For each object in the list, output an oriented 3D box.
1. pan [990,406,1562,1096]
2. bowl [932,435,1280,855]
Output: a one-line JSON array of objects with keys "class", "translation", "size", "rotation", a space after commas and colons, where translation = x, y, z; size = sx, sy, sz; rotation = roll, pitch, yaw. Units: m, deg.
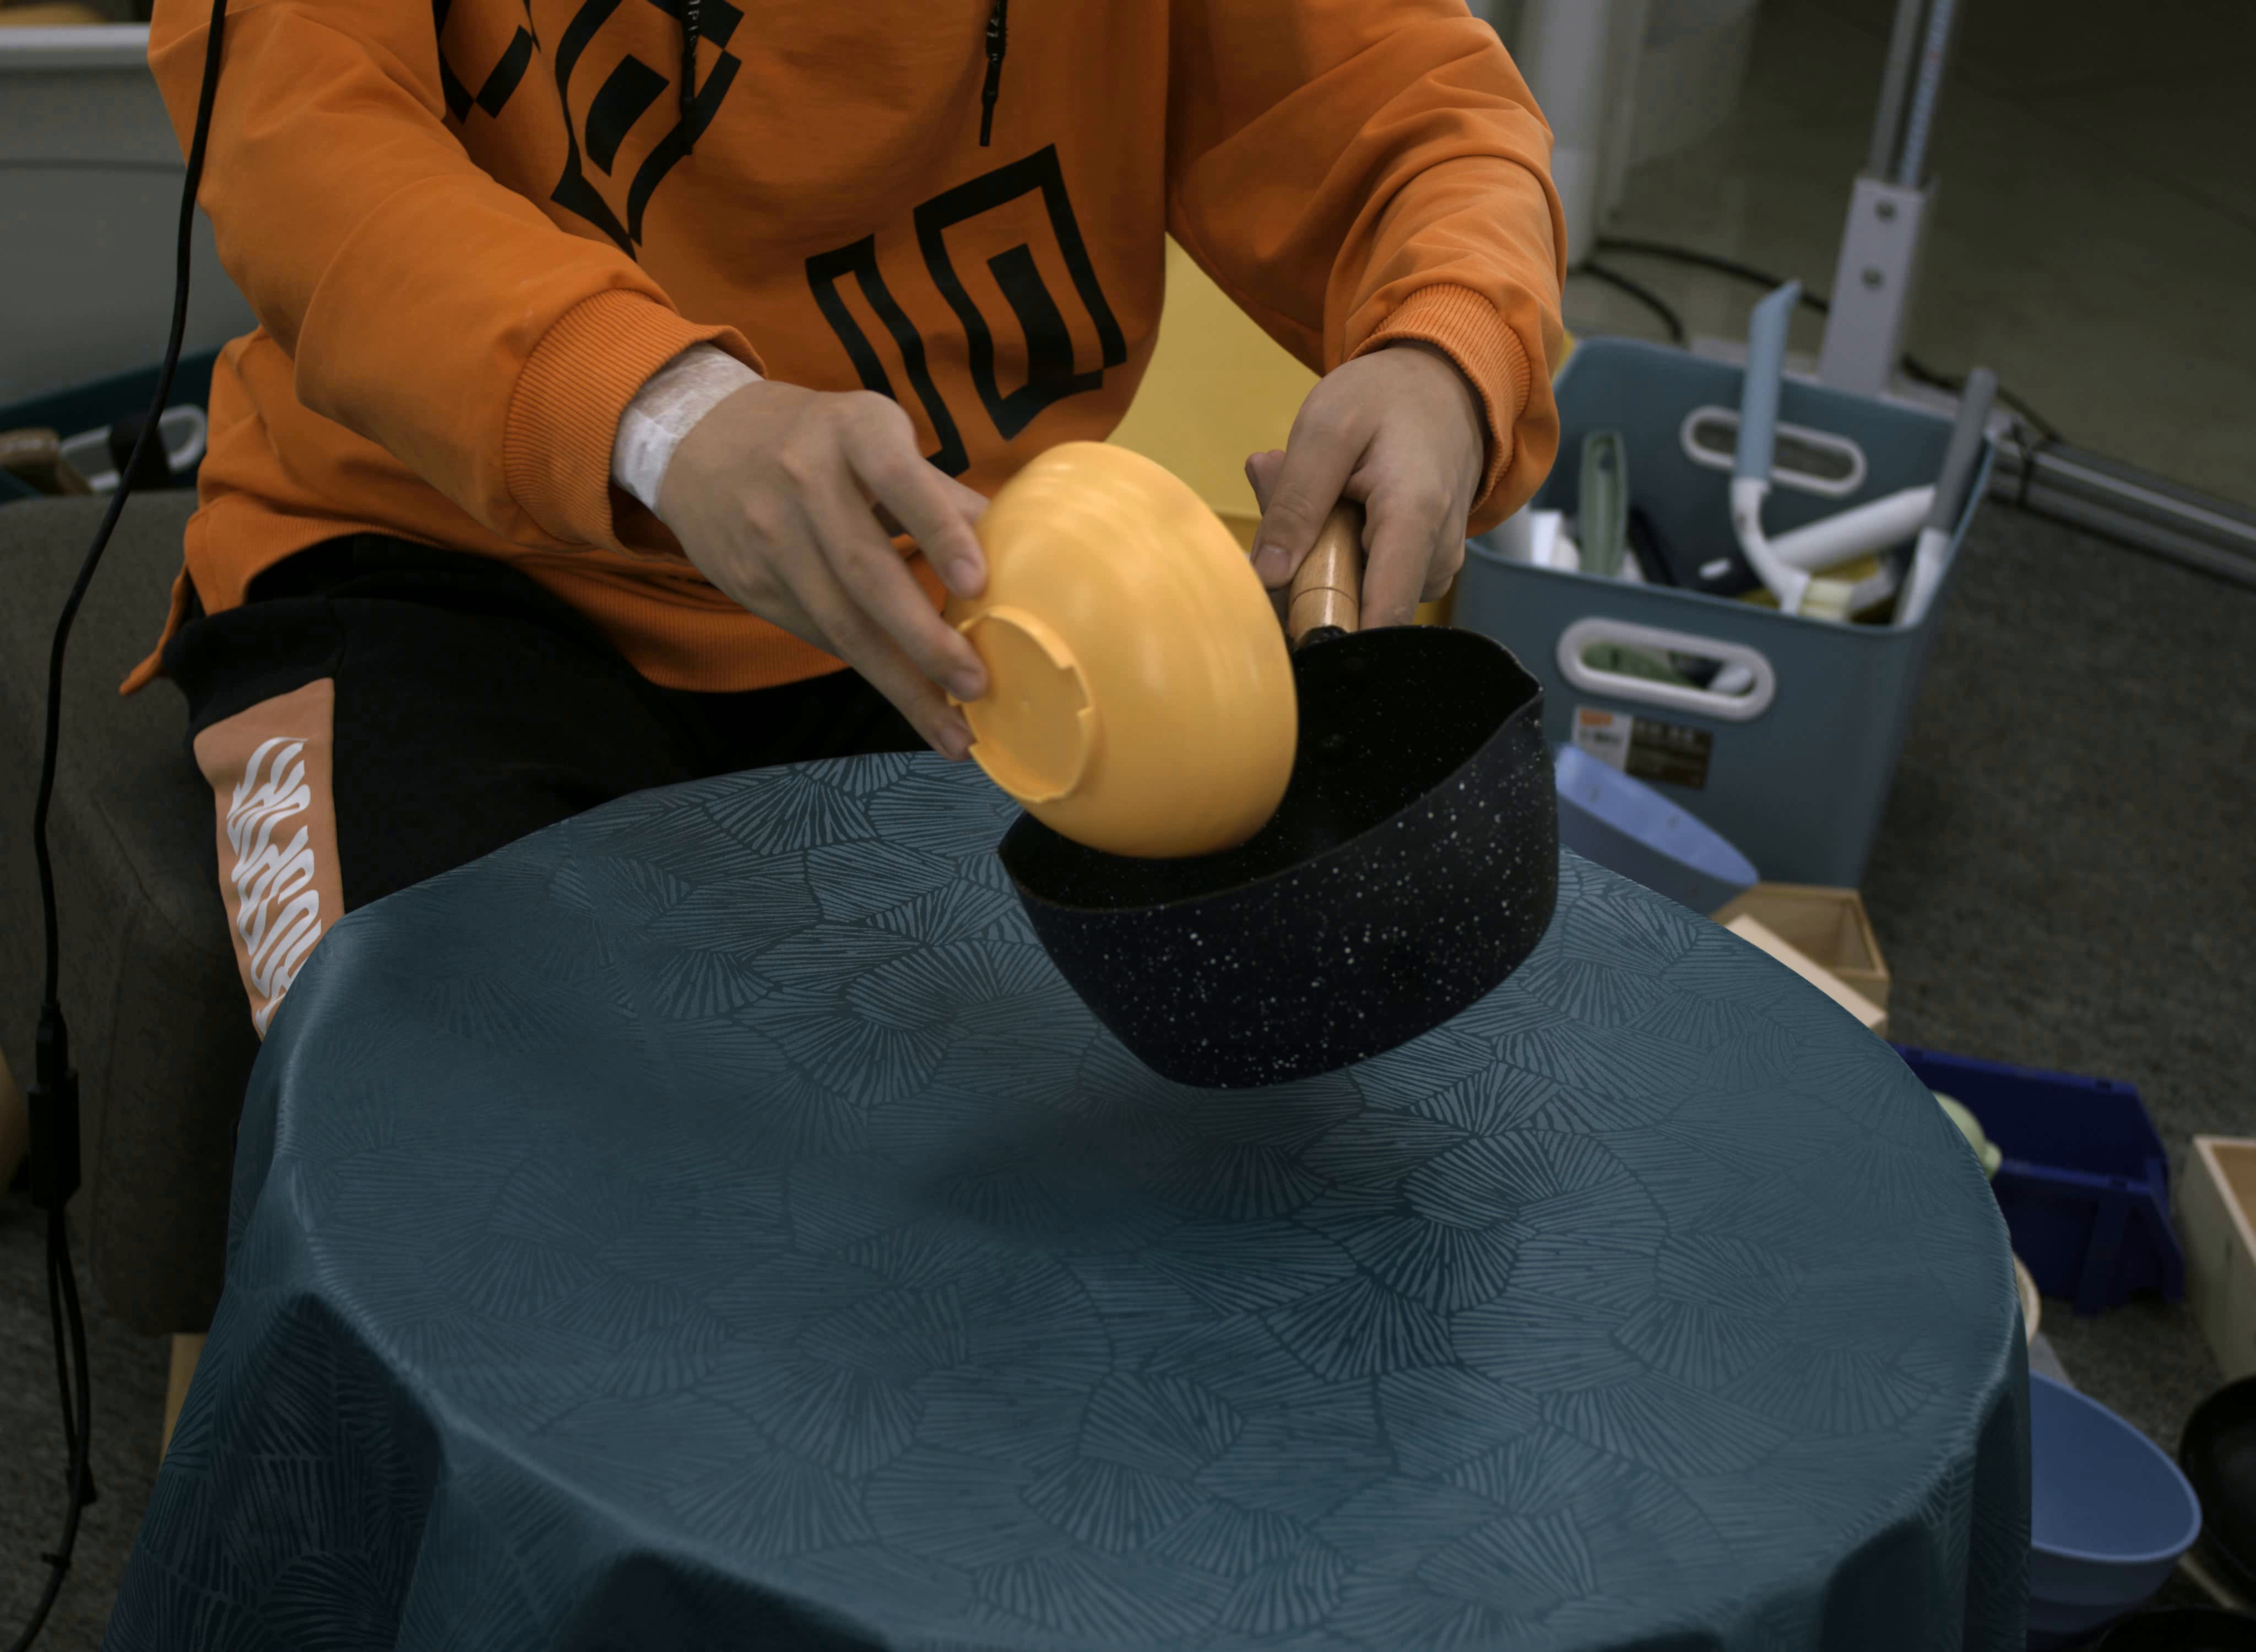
[{"class": "pan", "translation": [0.066, -0.031, 1.860], "size": [0.207, 0.107, 0.344], "rotation": [-18, 24, 17]}, {"class": "bowl", "translation": [-0.020, -0.050, 1.735], "size": [0.060, 0.144, 0.146], "rotation": [-25, 41, -36]}]
